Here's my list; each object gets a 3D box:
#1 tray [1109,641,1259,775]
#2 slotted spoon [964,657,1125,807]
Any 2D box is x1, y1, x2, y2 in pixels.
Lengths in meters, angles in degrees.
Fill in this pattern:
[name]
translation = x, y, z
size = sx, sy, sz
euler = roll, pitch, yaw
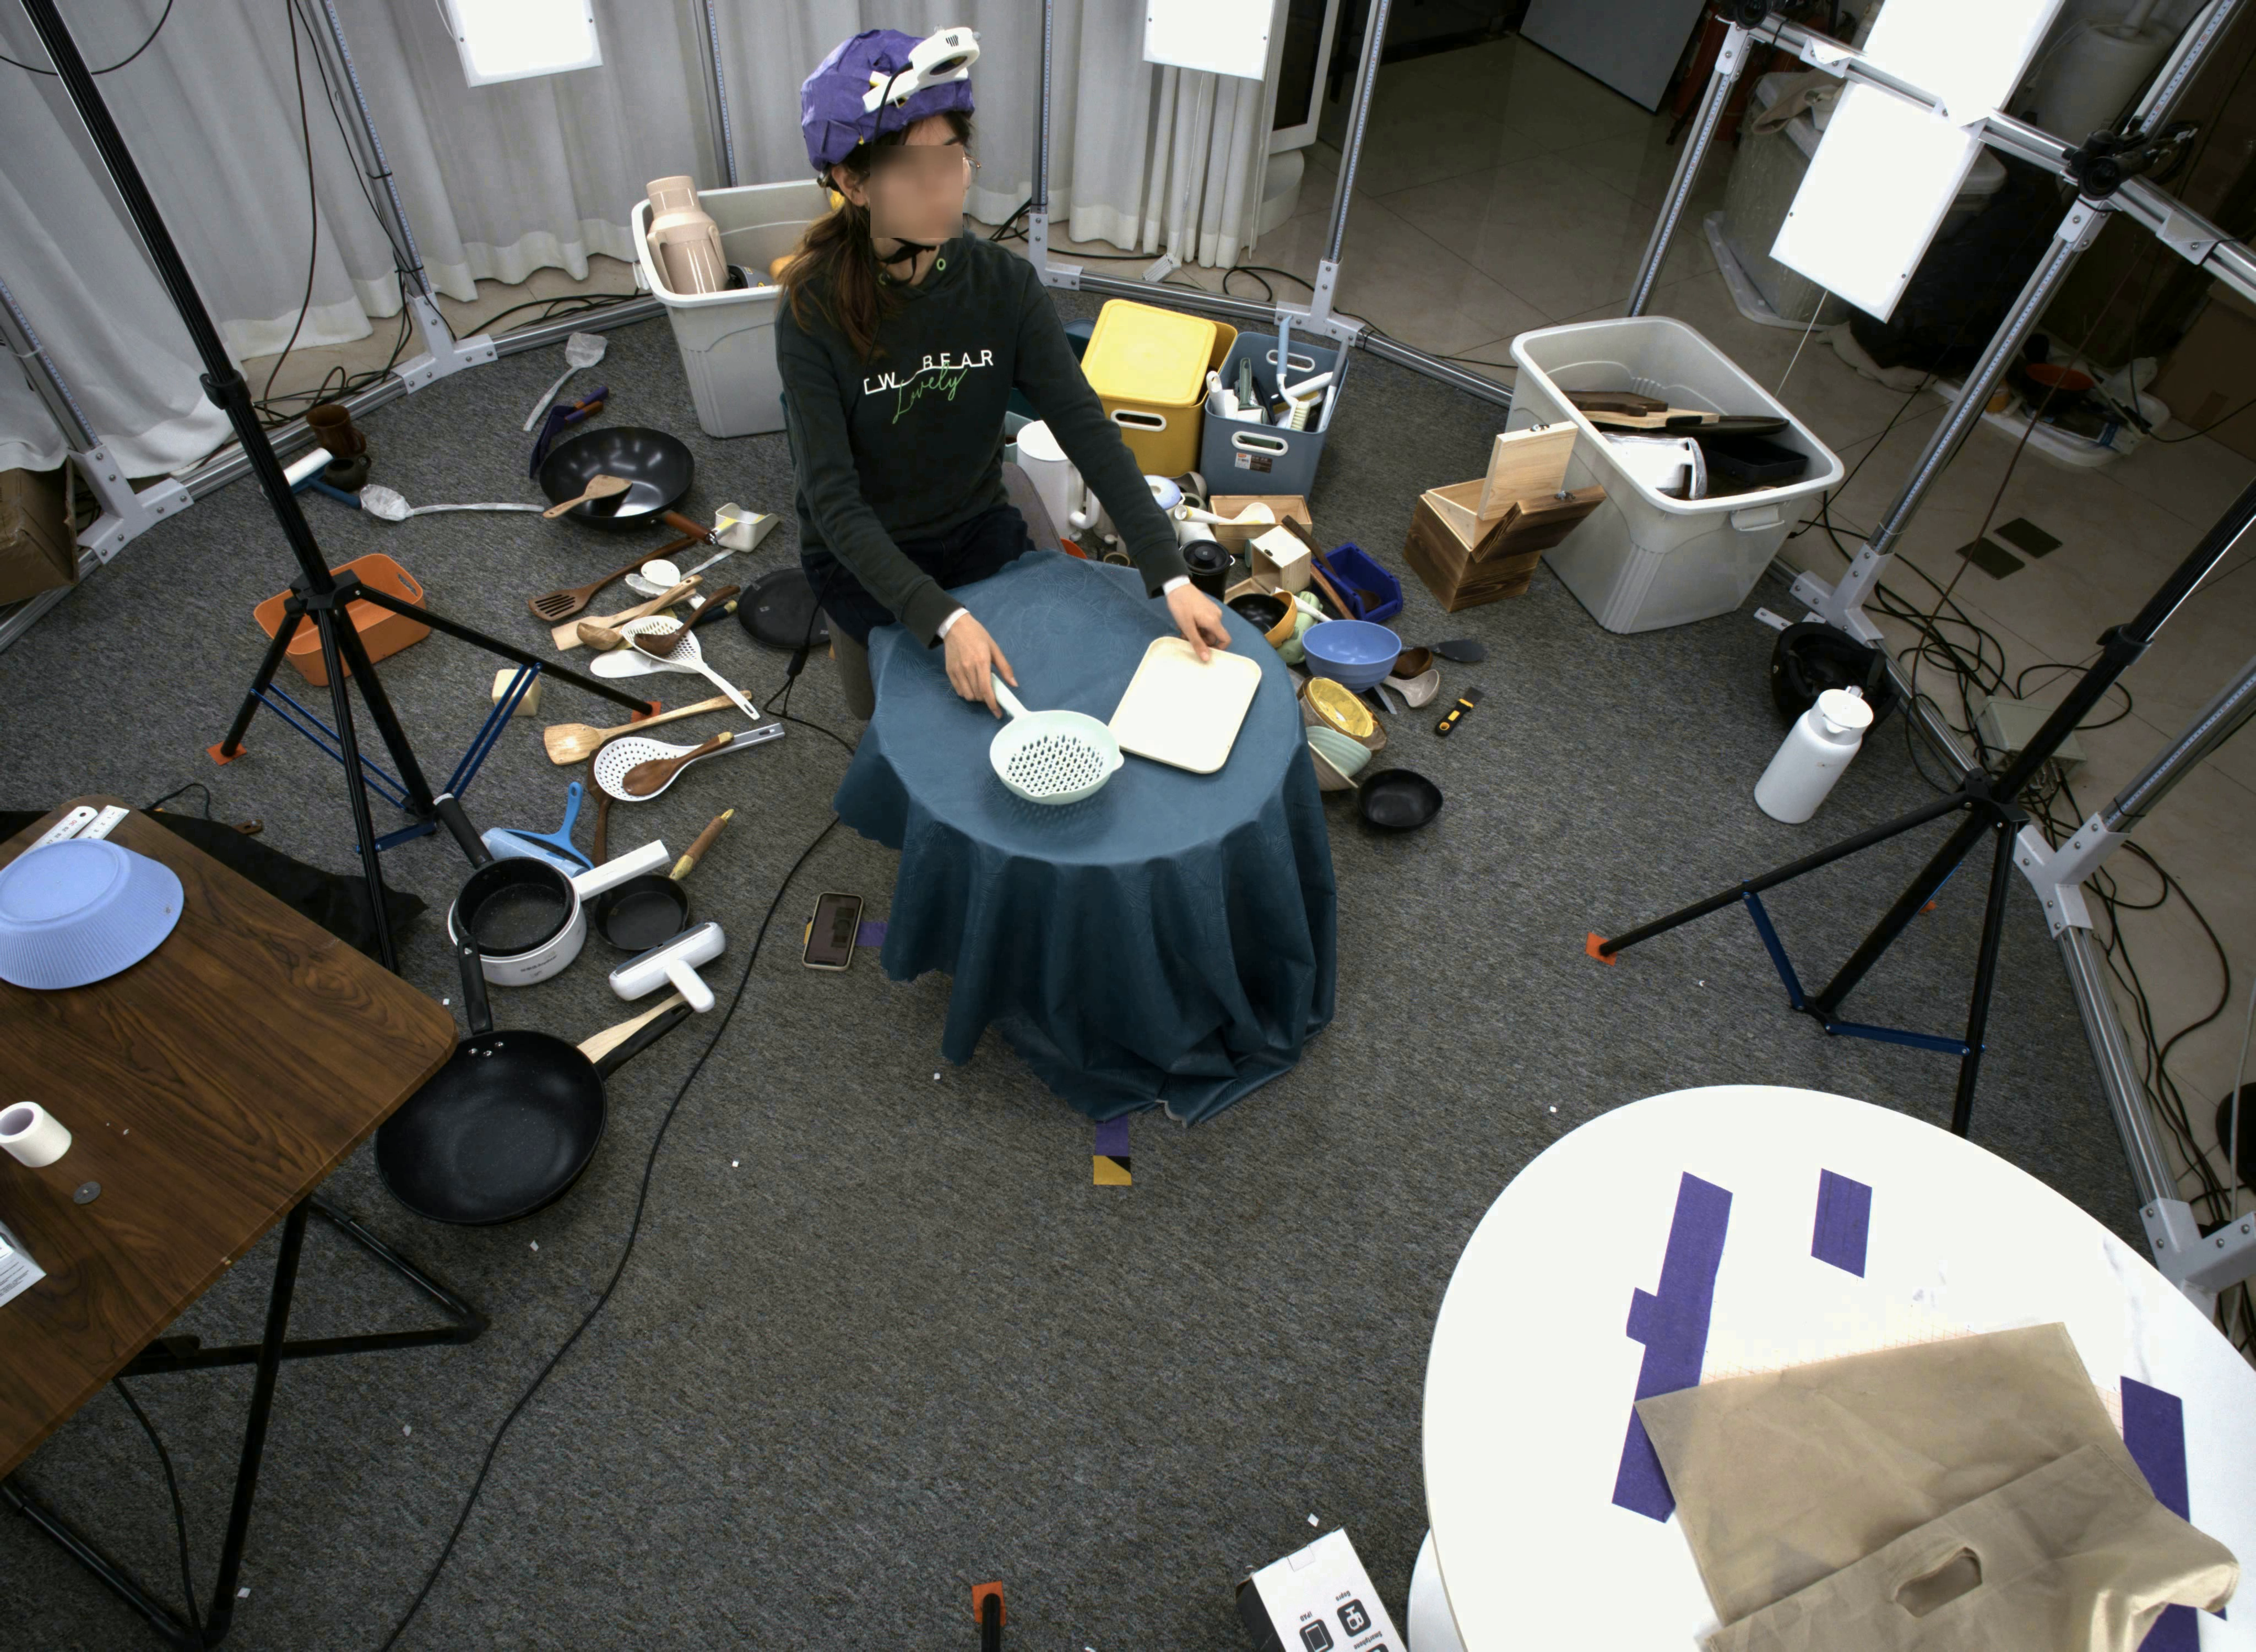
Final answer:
[tray]
translation = 0.082, -0.170, 1.828
size = 0.172, 0.017, 0.244
euler = 17, 49, 10
[slotted spoon]
translation = -0.144, -0.146, 1.761
size = 0.170, 0.073, 0.366
euler = -21, 53, -22
